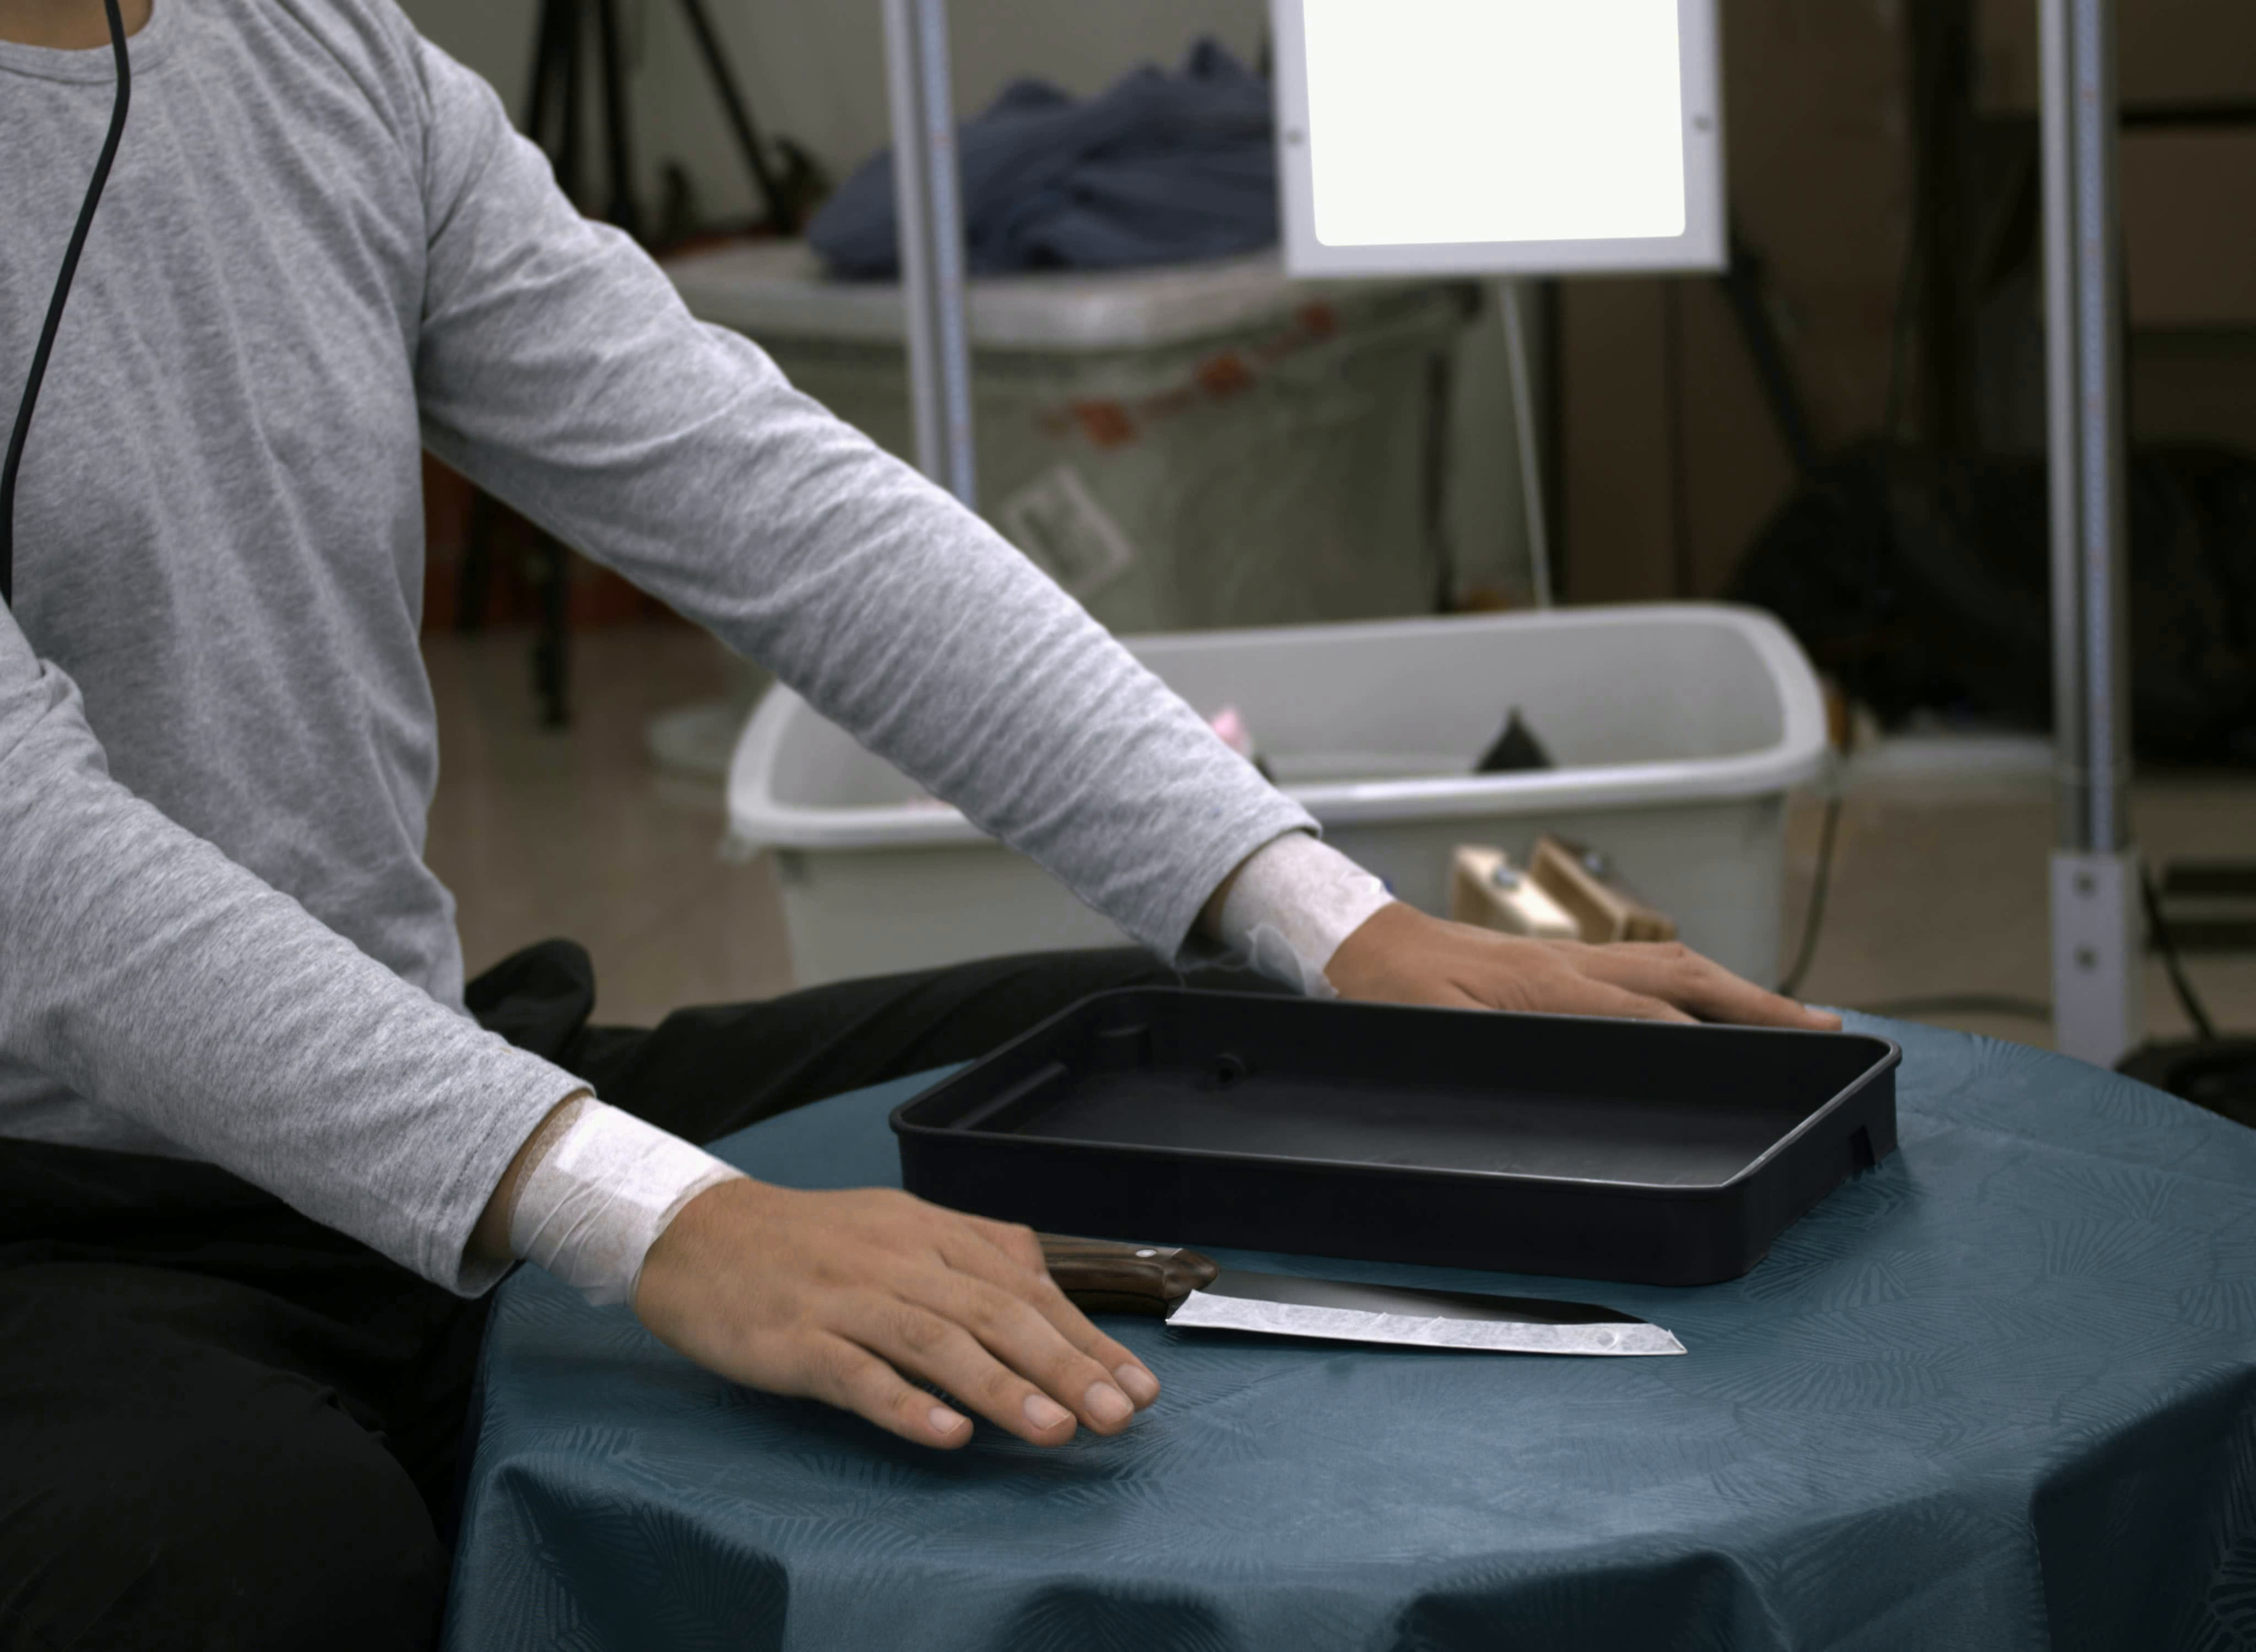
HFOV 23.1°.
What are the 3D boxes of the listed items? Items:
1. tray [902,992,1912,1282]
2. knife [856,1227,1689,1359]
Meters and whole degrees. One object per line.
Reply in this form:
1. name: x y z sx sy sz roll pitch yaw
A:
1. tray: 0.097 0.104 1.887 0.323 0.037 0.180 1 15 28
2. knife: 0.042 0.151 1.756 0.293 0.020 0.049 4 21 25
